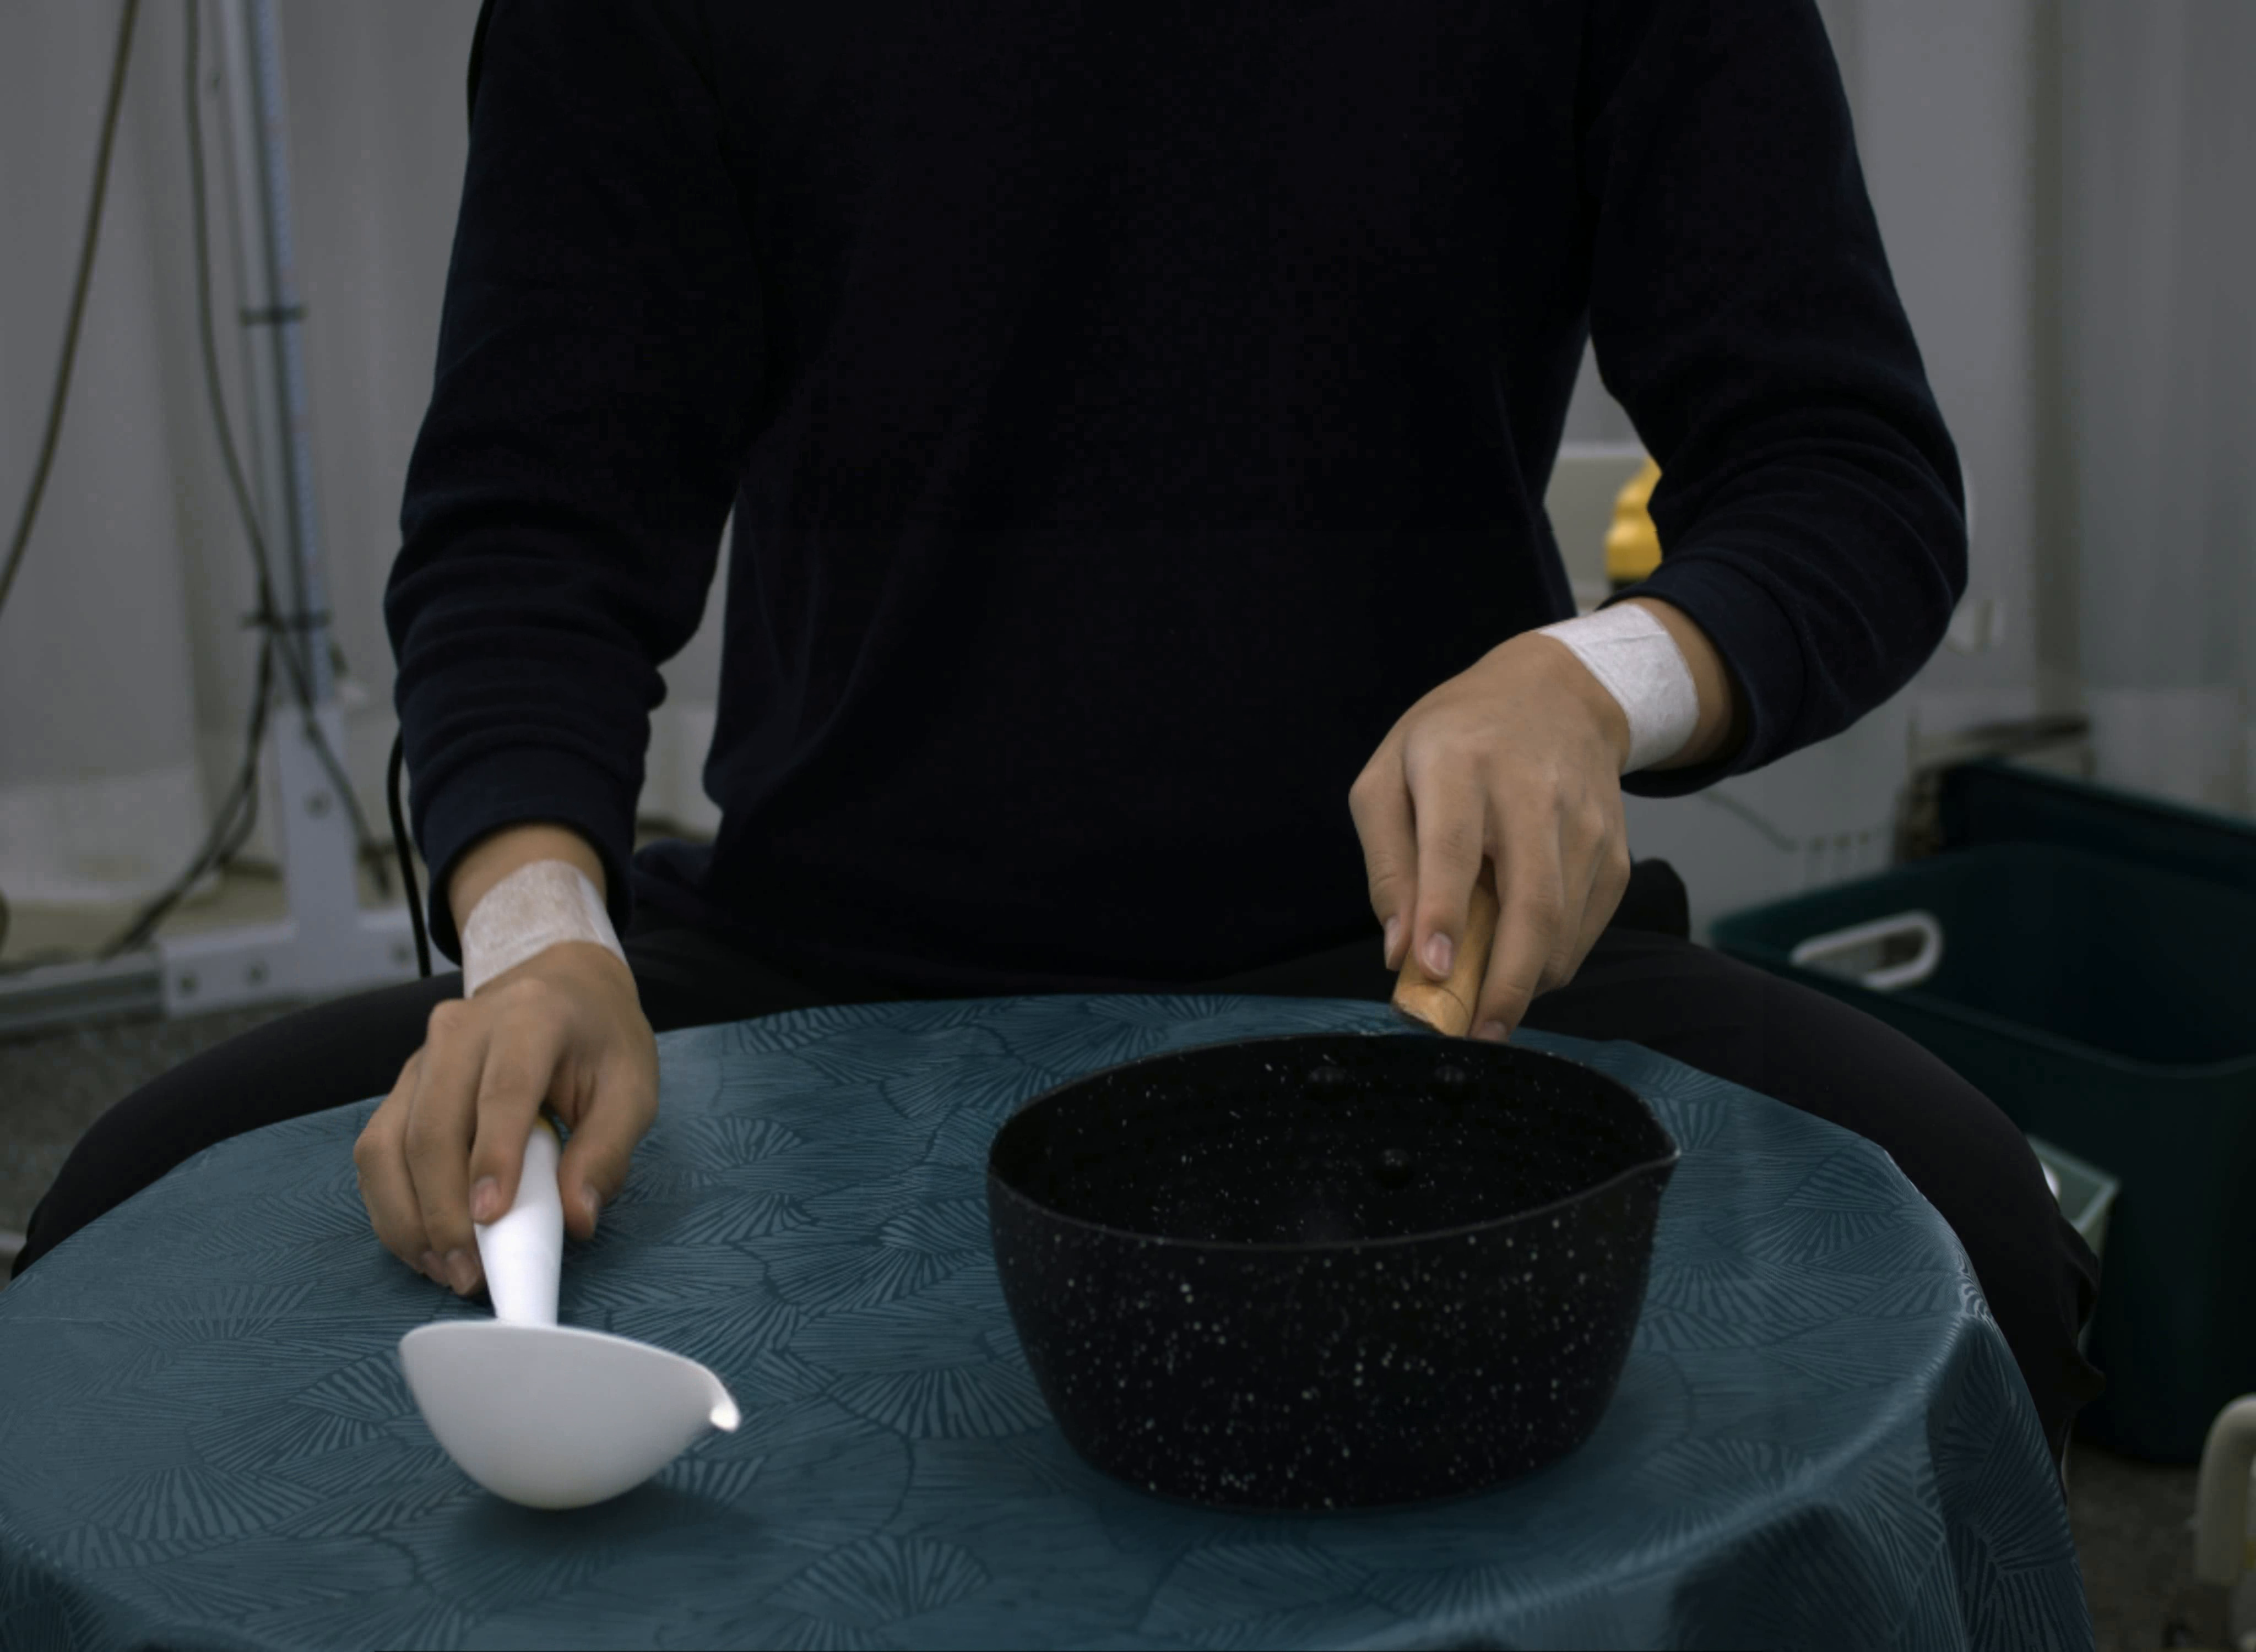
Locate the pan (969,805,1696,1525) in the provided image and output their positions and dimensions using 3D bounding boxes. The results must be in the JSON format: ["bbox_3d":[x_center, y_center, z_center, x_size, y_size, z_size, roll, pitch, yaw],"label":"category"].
[{"bbox_3d":[0.073,0.092,1.578,0.207,0.108,0.344,0,16,14],"label":"pan"}]

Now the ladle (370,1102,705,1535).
[{"bbox_3d":[-0.167,0.127,1.575,0.090,0.069,0.295,6,17,-6],"label":"ladle"}]
